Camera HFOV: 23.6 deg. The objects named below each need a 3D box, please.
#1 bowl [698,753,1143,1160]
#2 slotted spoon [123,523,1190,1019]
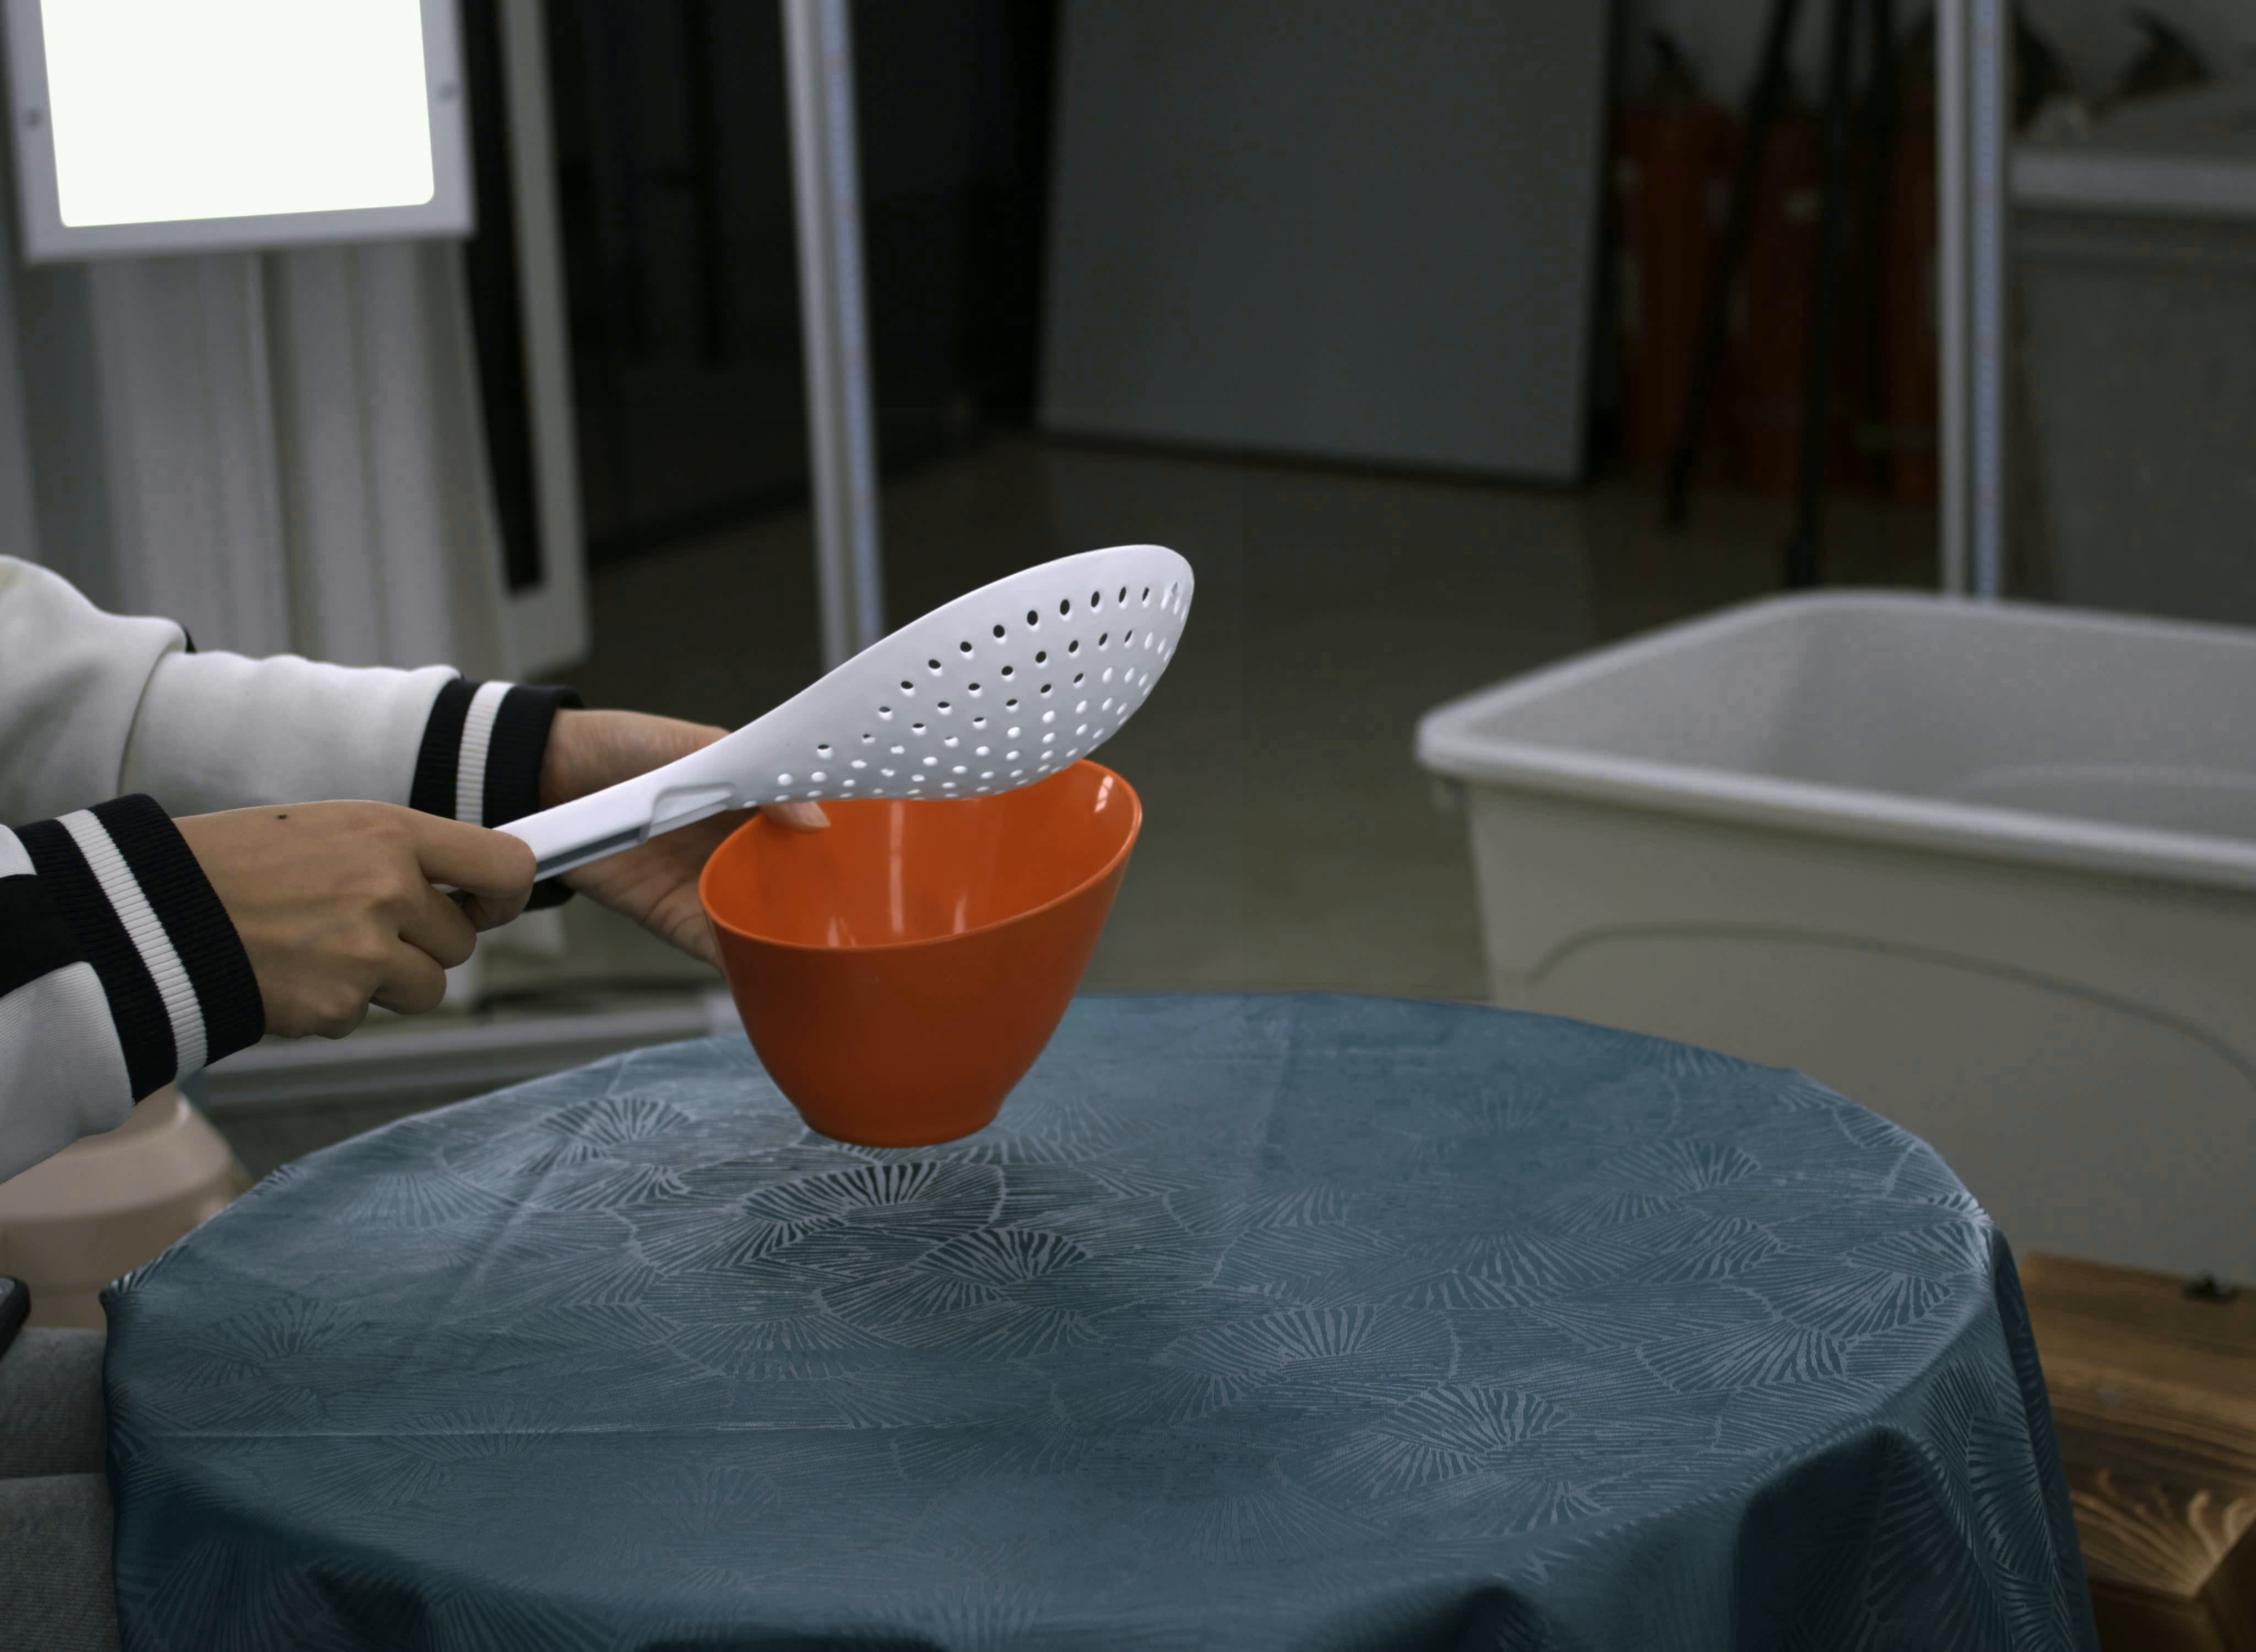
[{"bbox_3d":[-0.066,0.047,1.776,0.146,0.106,0.148,-2,21,0],"label":"bowl"},{"bbox_3d":[-0.136,-0.012,1.628,0.344,0.046,0.136,-16,-18,-12],"label":"slotted spoon"}]
